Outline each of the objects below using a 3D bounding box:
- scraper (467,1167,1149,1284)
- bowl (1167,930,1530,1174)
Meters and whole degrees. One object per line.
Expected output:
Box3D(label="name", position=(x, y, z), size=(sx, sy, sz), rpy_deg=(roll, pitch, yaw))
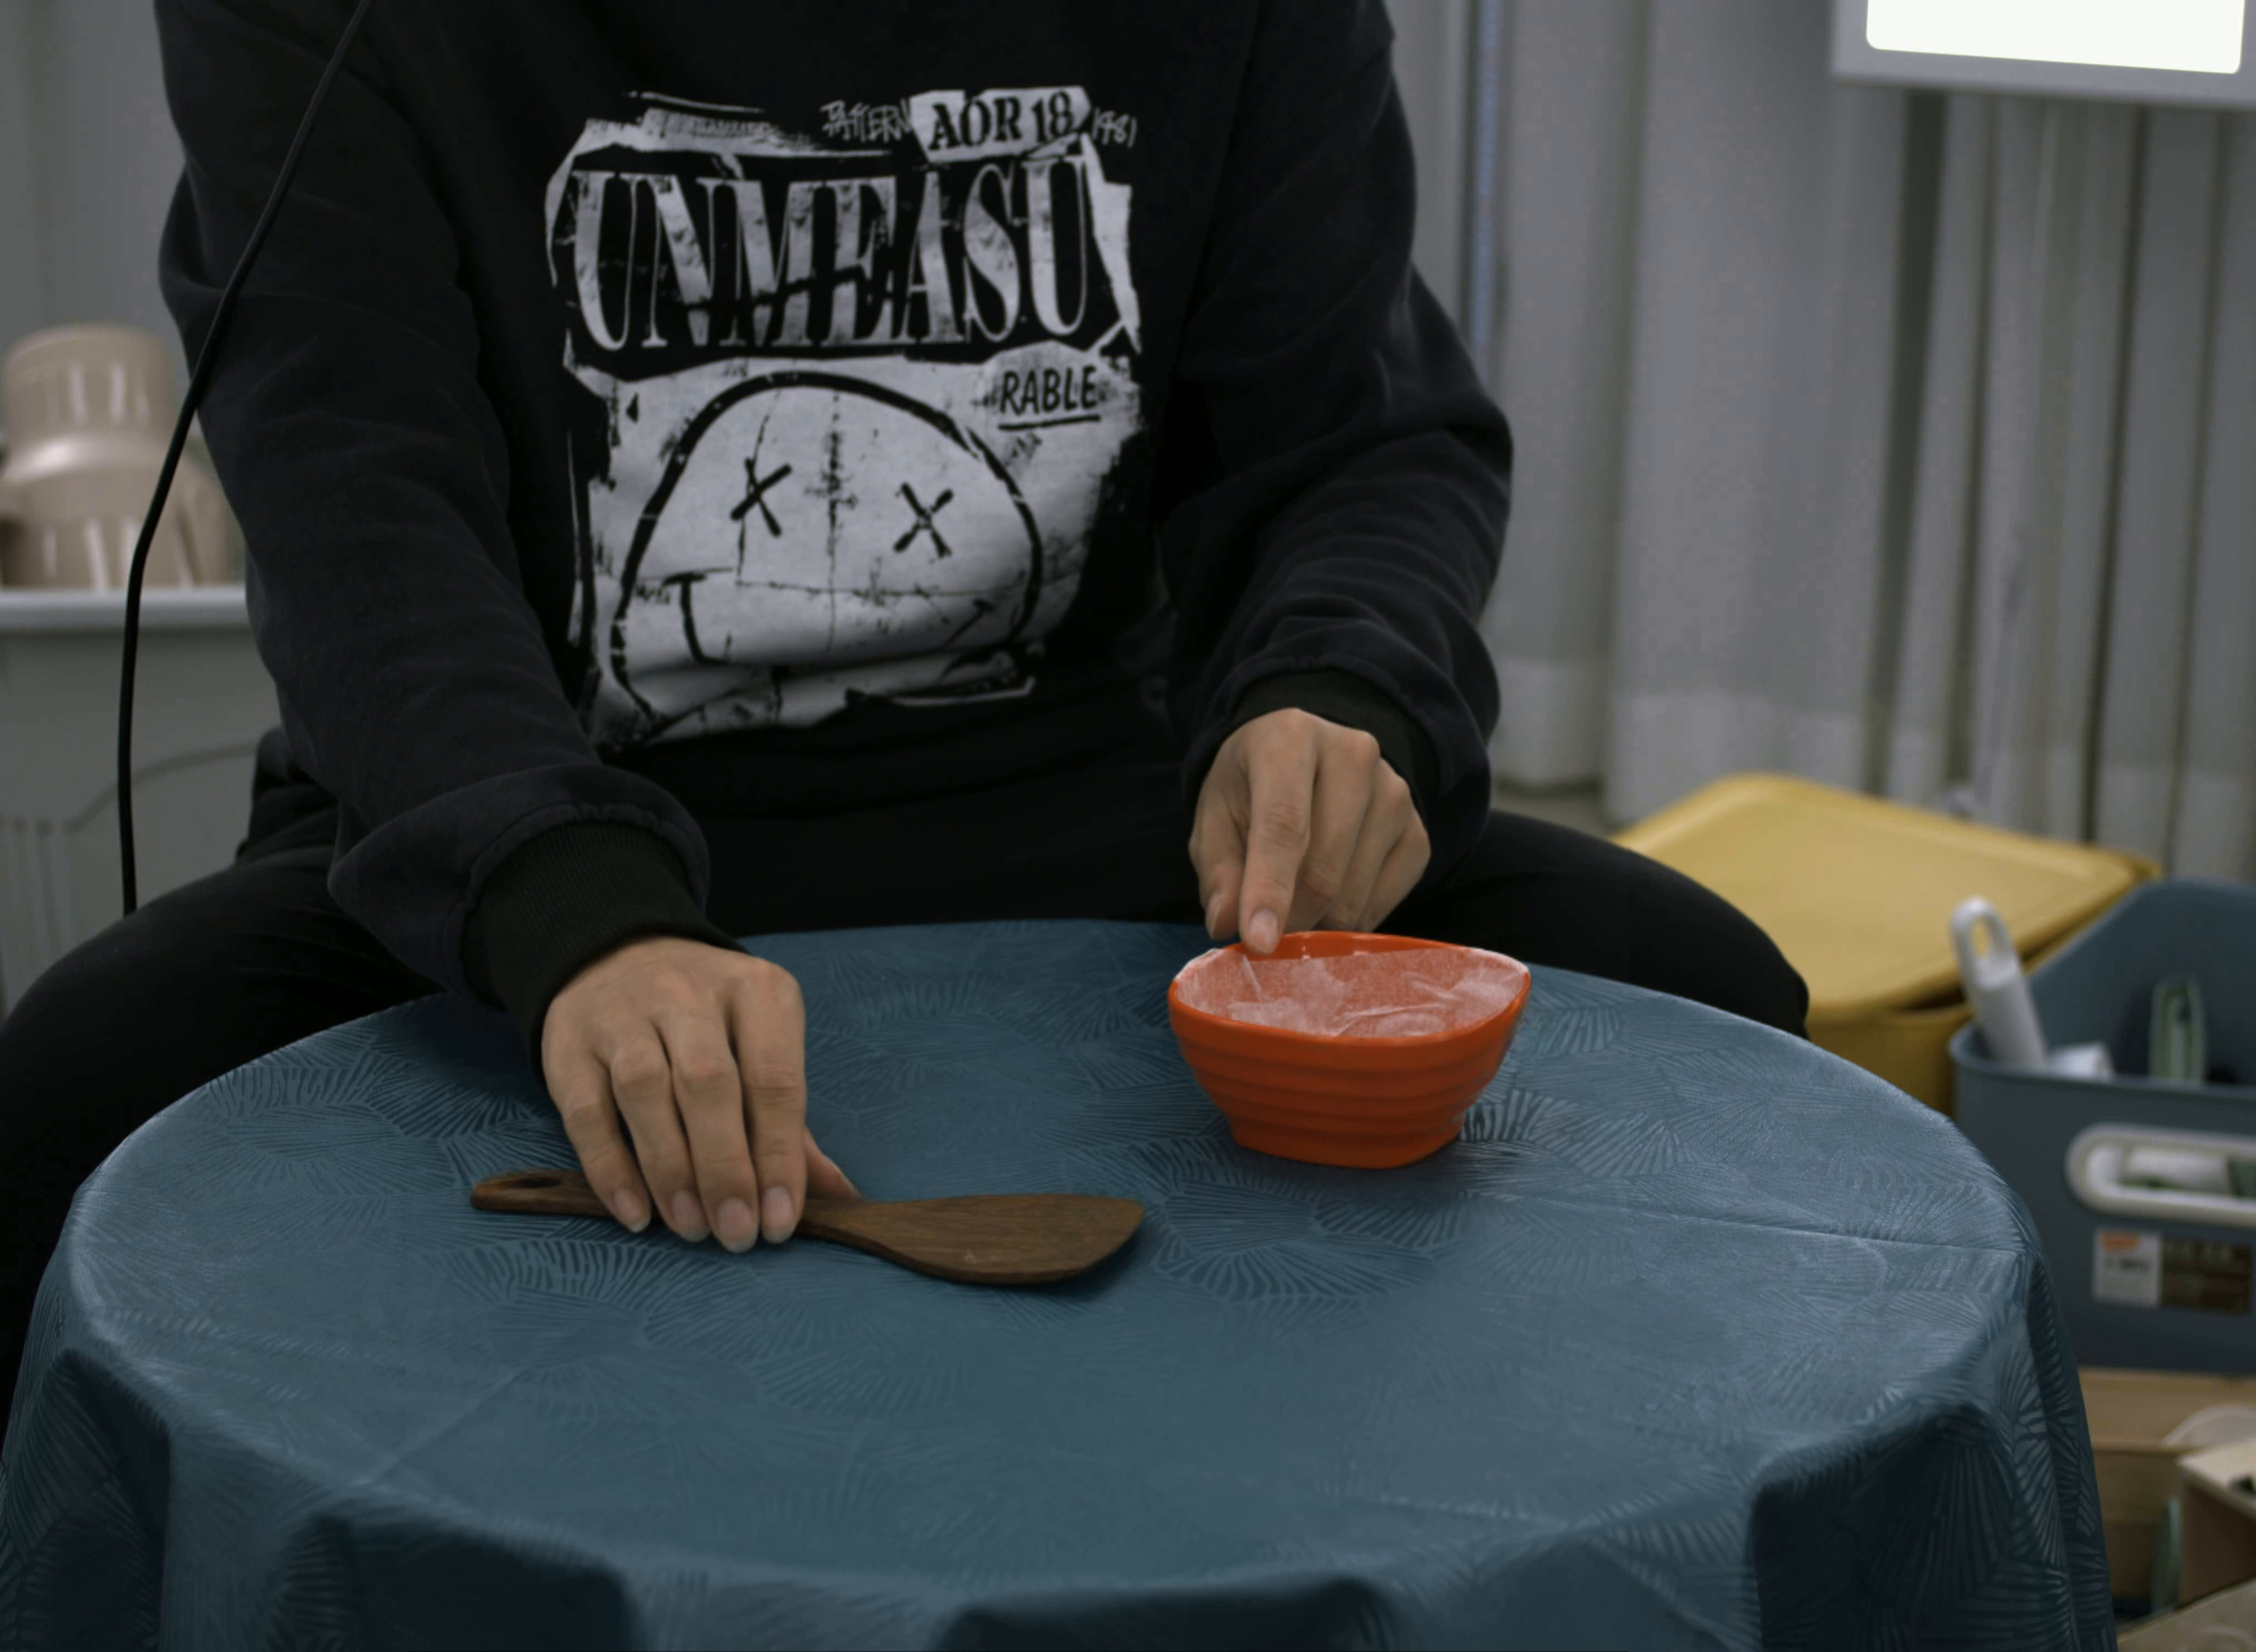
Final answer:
Box3D(label="scraper", position=(-0.099, 0.117, 1.590), size=(0.209, 0.011, 0.076), rpy_deg=(4, 15, 15))
Box3D(label="bowl", position=(0.070, 0.074, 1.676), size=(0.118, 0.052, 0.118), rpy_deg=(0, 17, 1))
